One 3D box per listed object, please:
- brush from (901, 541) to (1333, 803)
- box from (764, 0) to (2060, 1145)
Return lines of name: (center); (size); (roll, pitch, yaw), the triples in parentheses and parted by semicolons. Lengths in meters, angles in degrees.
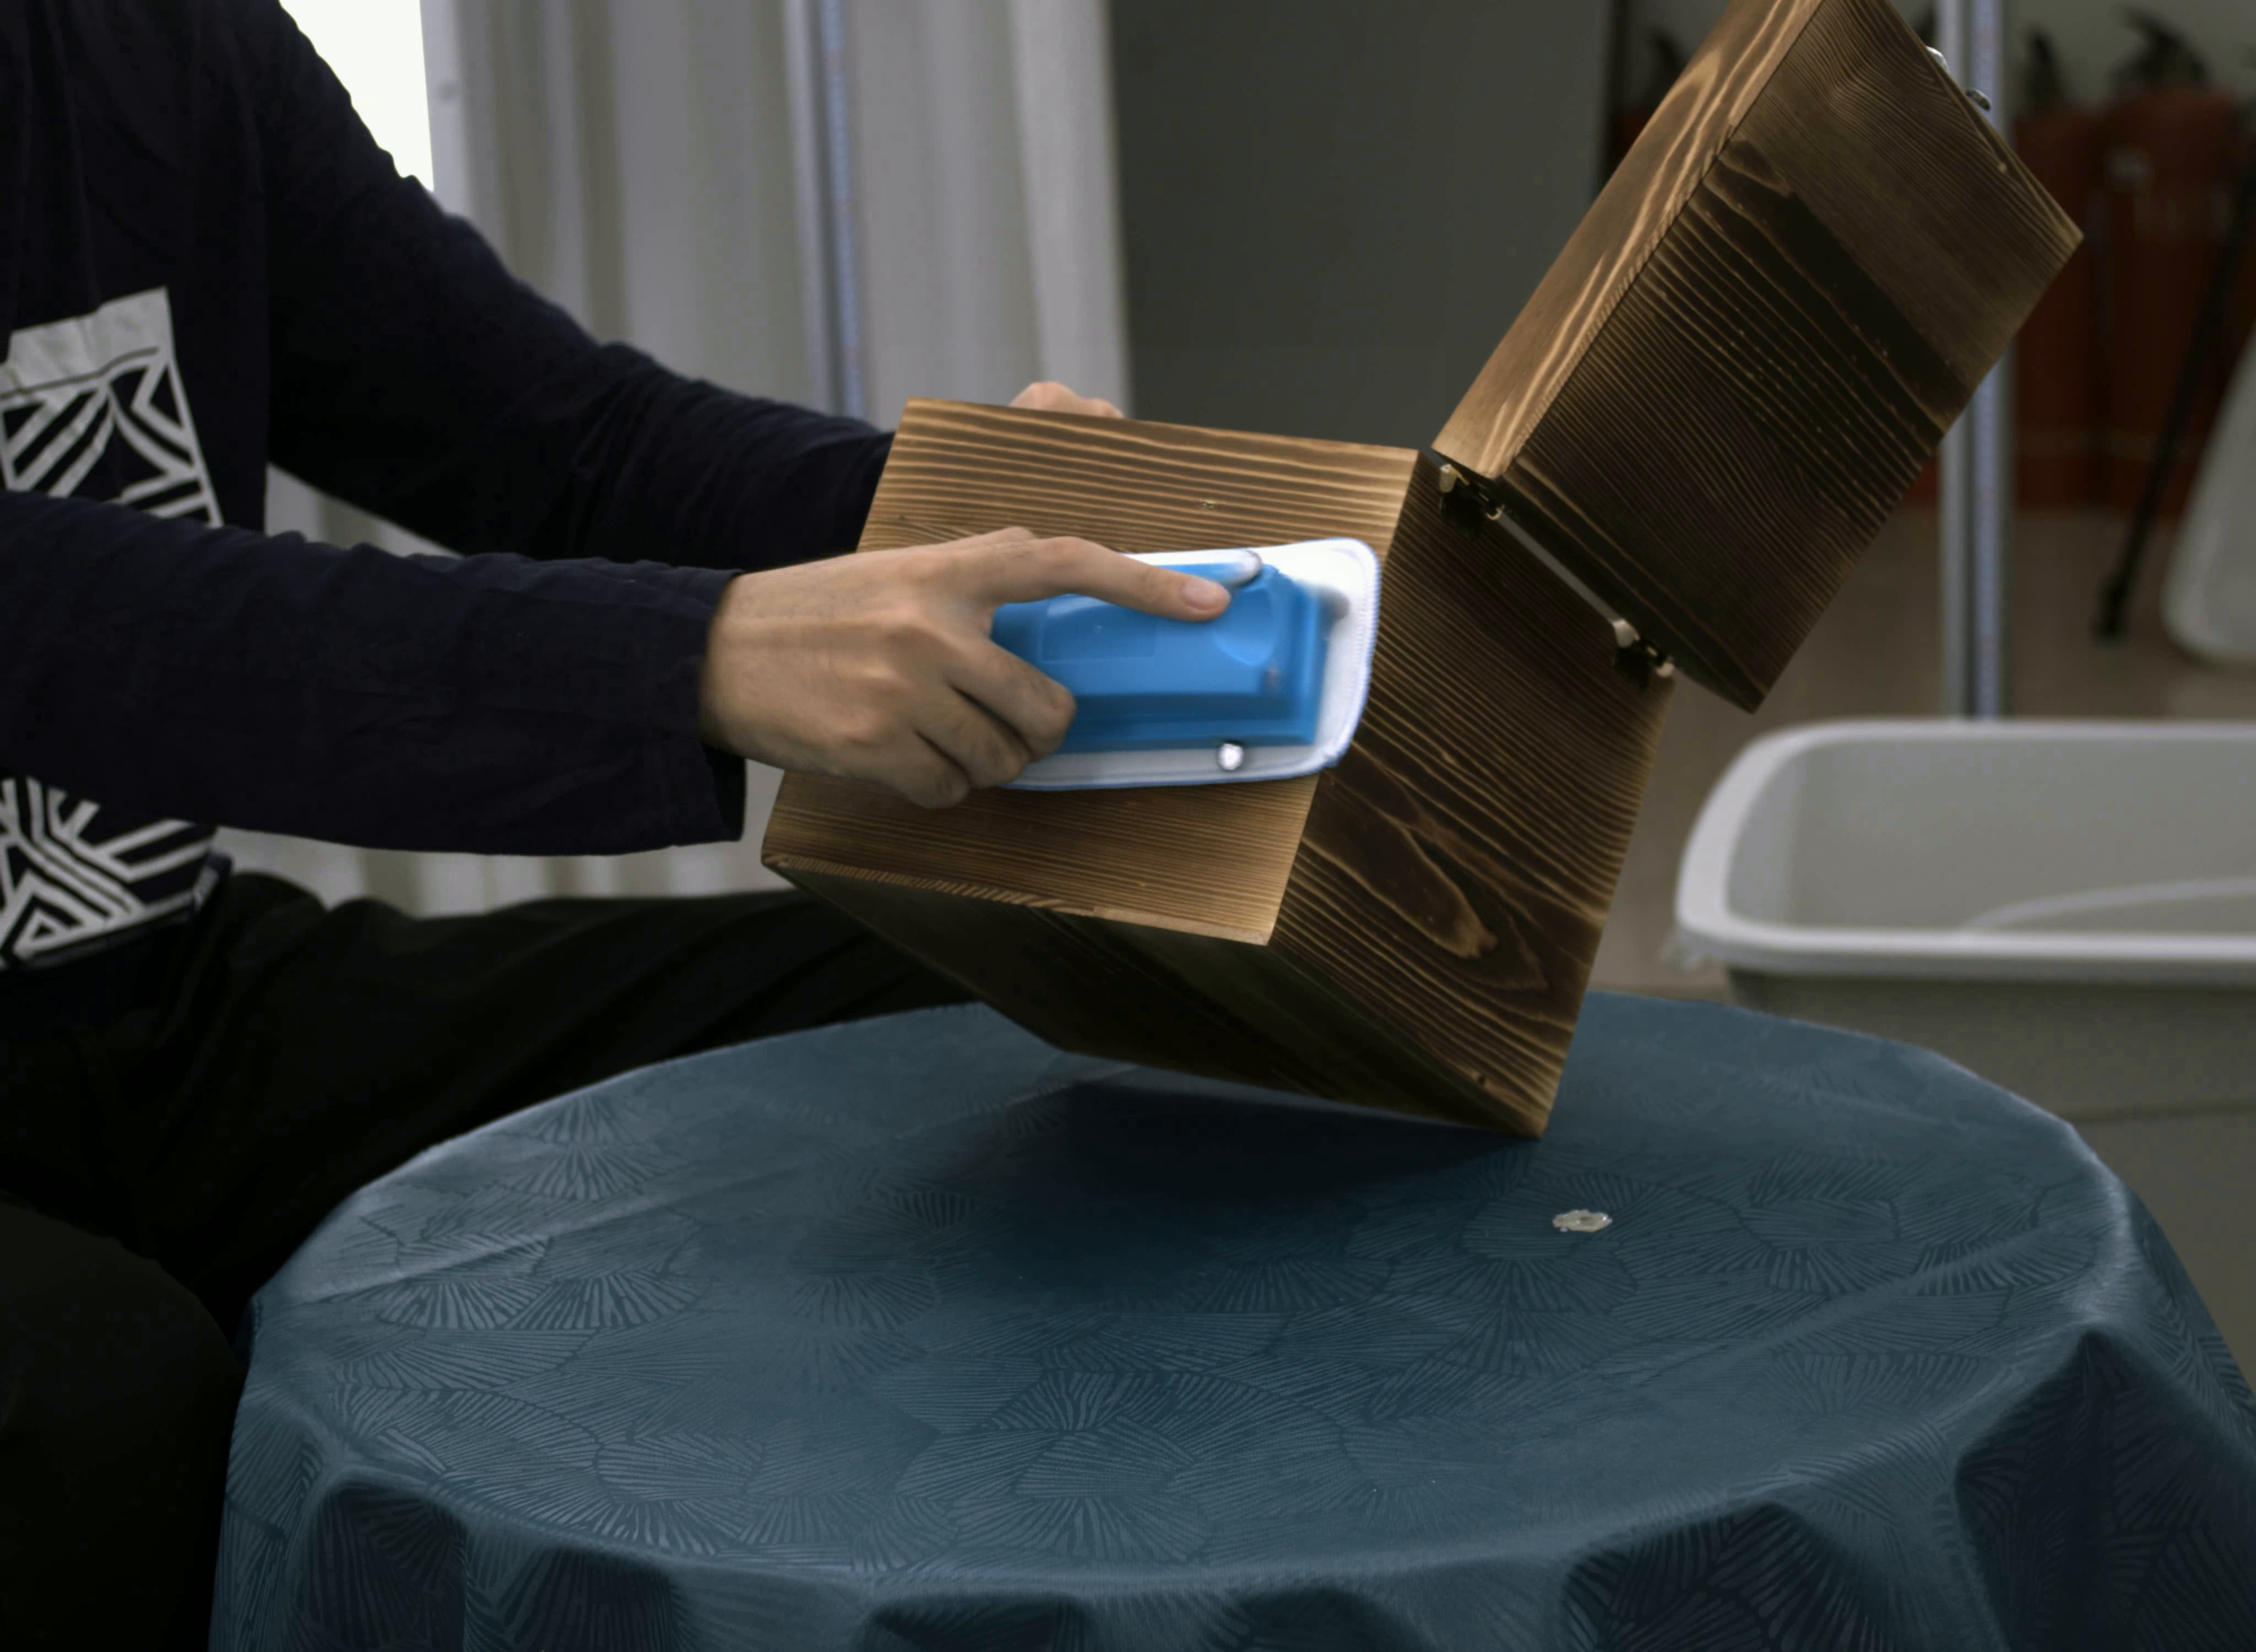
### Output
brush: (-0.010, -0.054, 1.669); (0.144, 0.084, 0.055); (-3, -26, 28)
box: (0.102, -0.103, 1.793); (0.324, 0.379, 0.205); (8, -16, 35)
